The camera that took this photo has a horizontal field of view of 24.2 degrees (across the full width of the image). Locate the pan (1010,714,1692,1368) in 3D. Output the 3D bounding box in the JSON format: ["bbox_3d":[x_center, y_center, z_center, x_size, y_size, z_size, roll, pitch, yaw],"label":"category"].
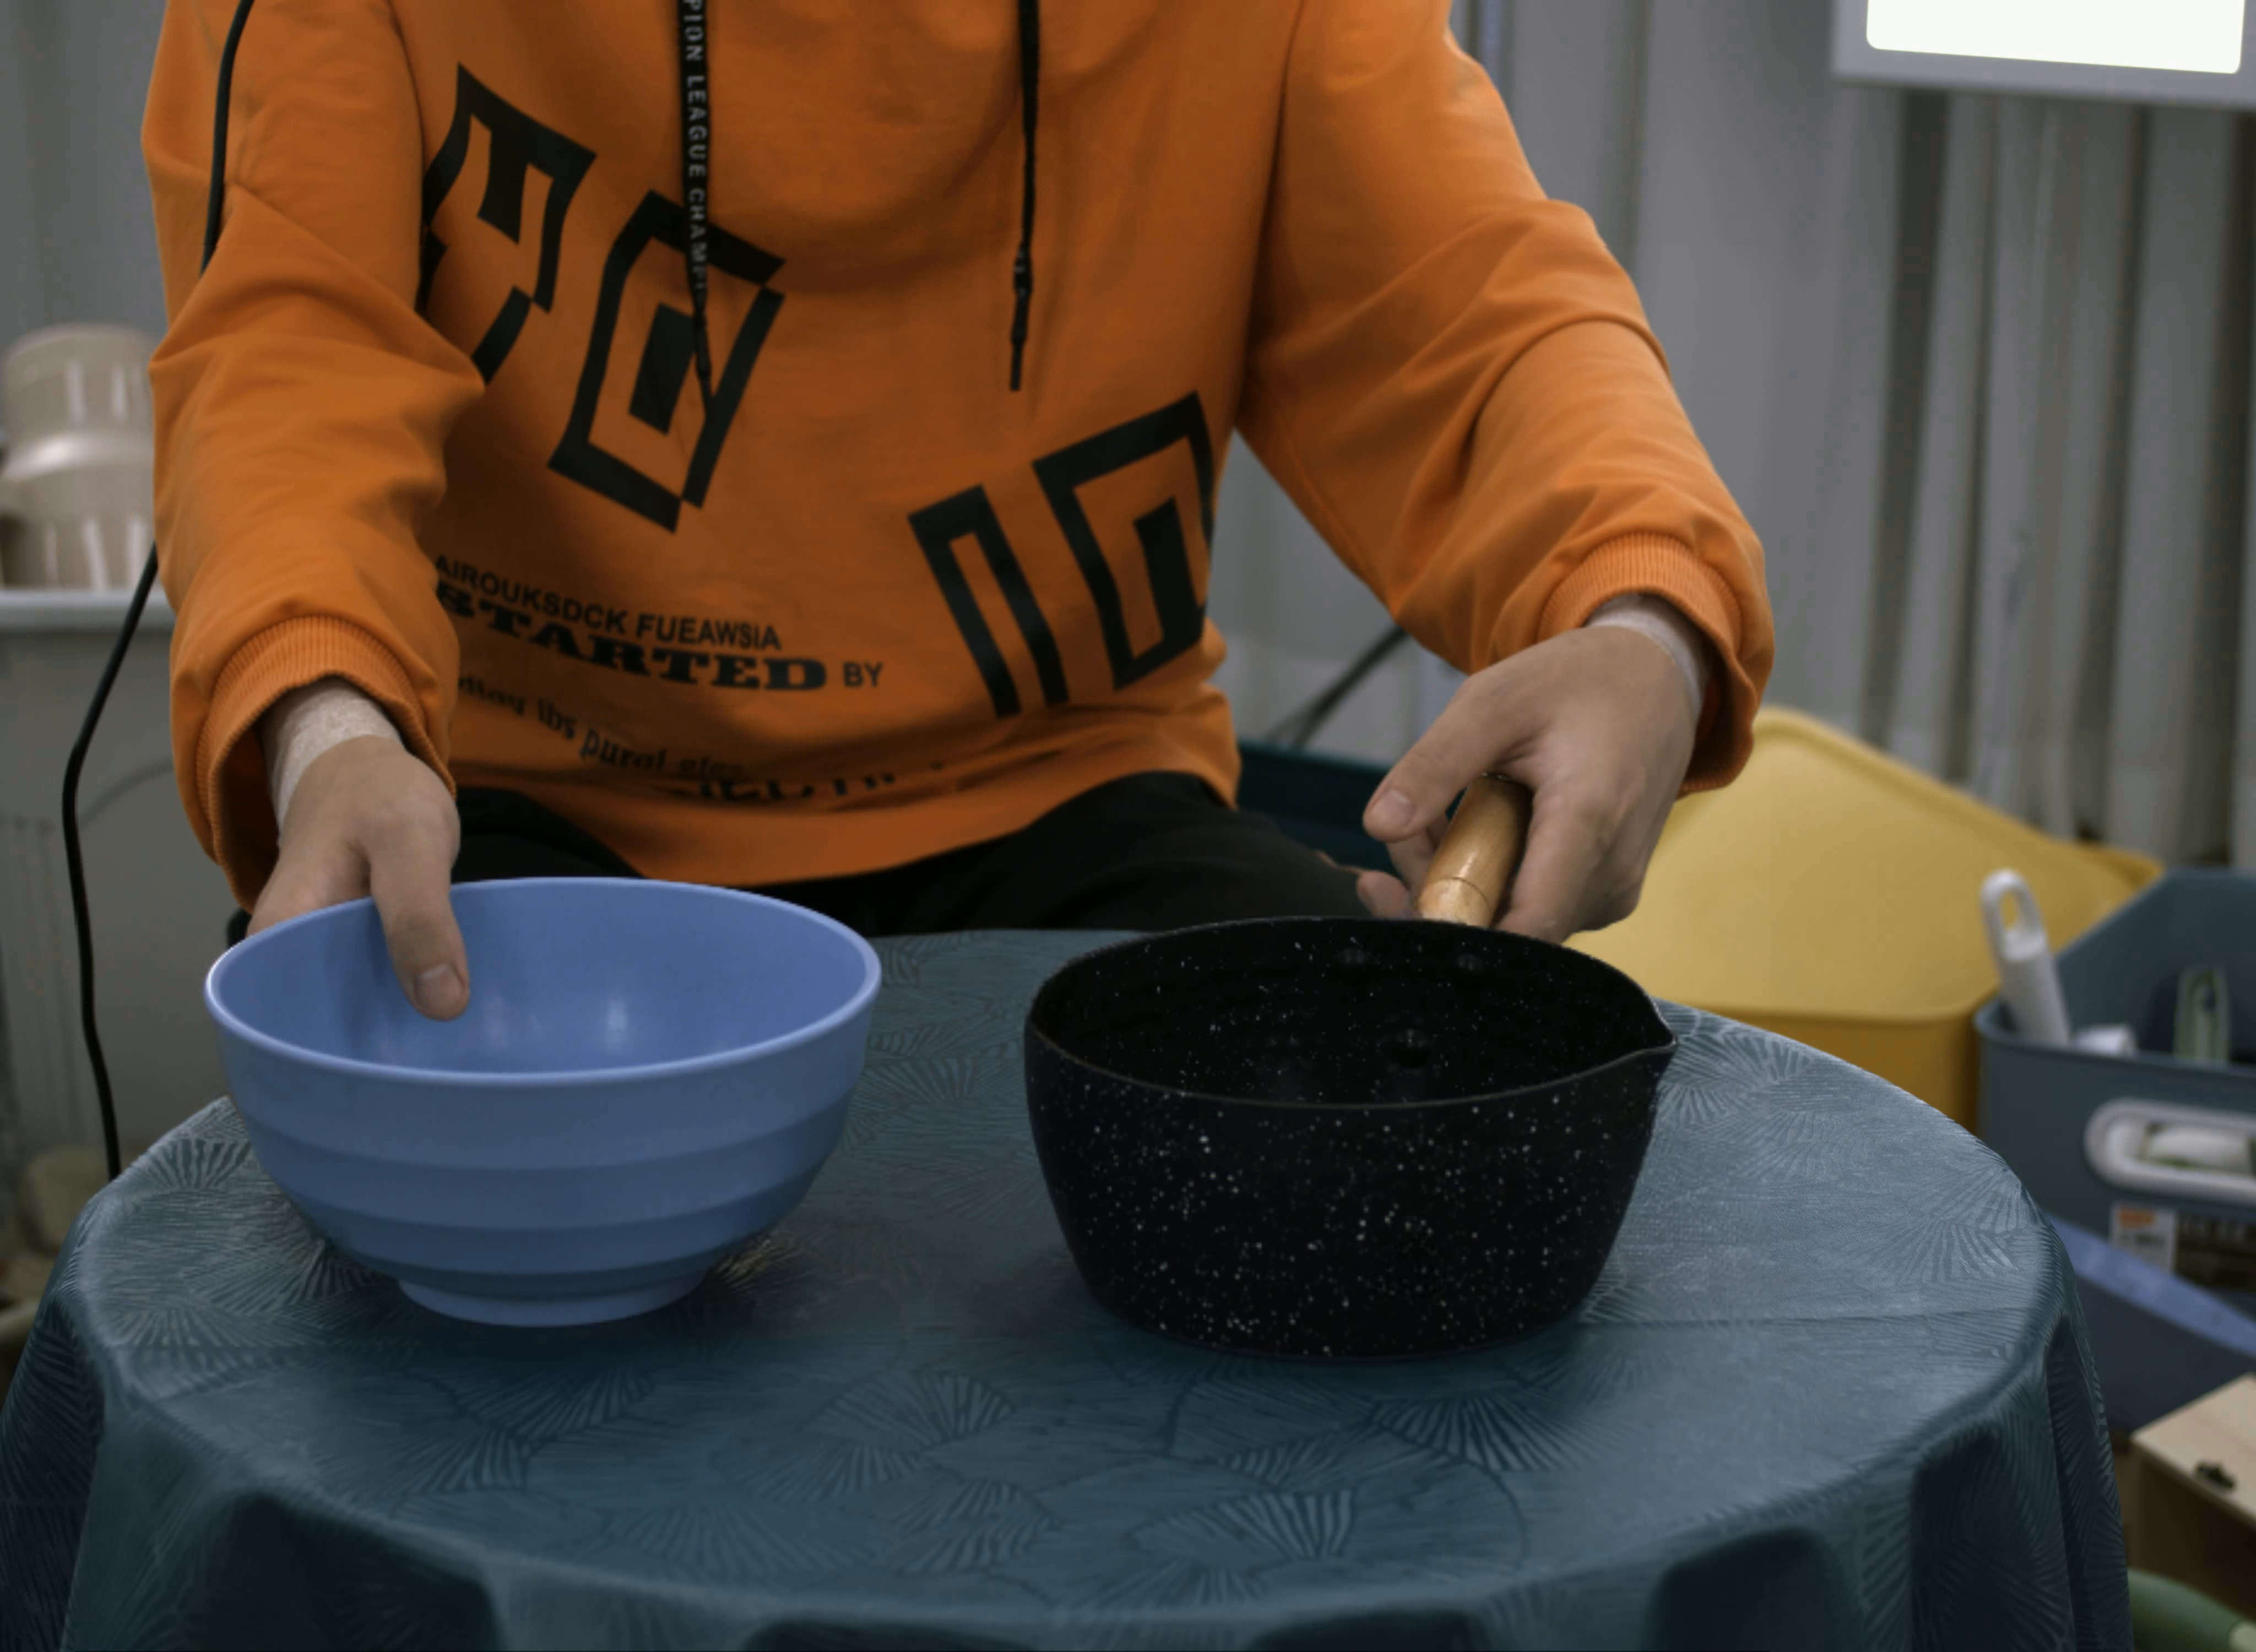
[{"bbox_3d":[0.083,0.060,1.610,0.206,0.109,0.342,4,17,15],"label":"pan"}]

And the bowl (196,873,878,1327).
[{"bbox_3d":[-0.170,0.085,1.534,0.196,0.096,0.195,0,17,1],"label":"bowl"}]
